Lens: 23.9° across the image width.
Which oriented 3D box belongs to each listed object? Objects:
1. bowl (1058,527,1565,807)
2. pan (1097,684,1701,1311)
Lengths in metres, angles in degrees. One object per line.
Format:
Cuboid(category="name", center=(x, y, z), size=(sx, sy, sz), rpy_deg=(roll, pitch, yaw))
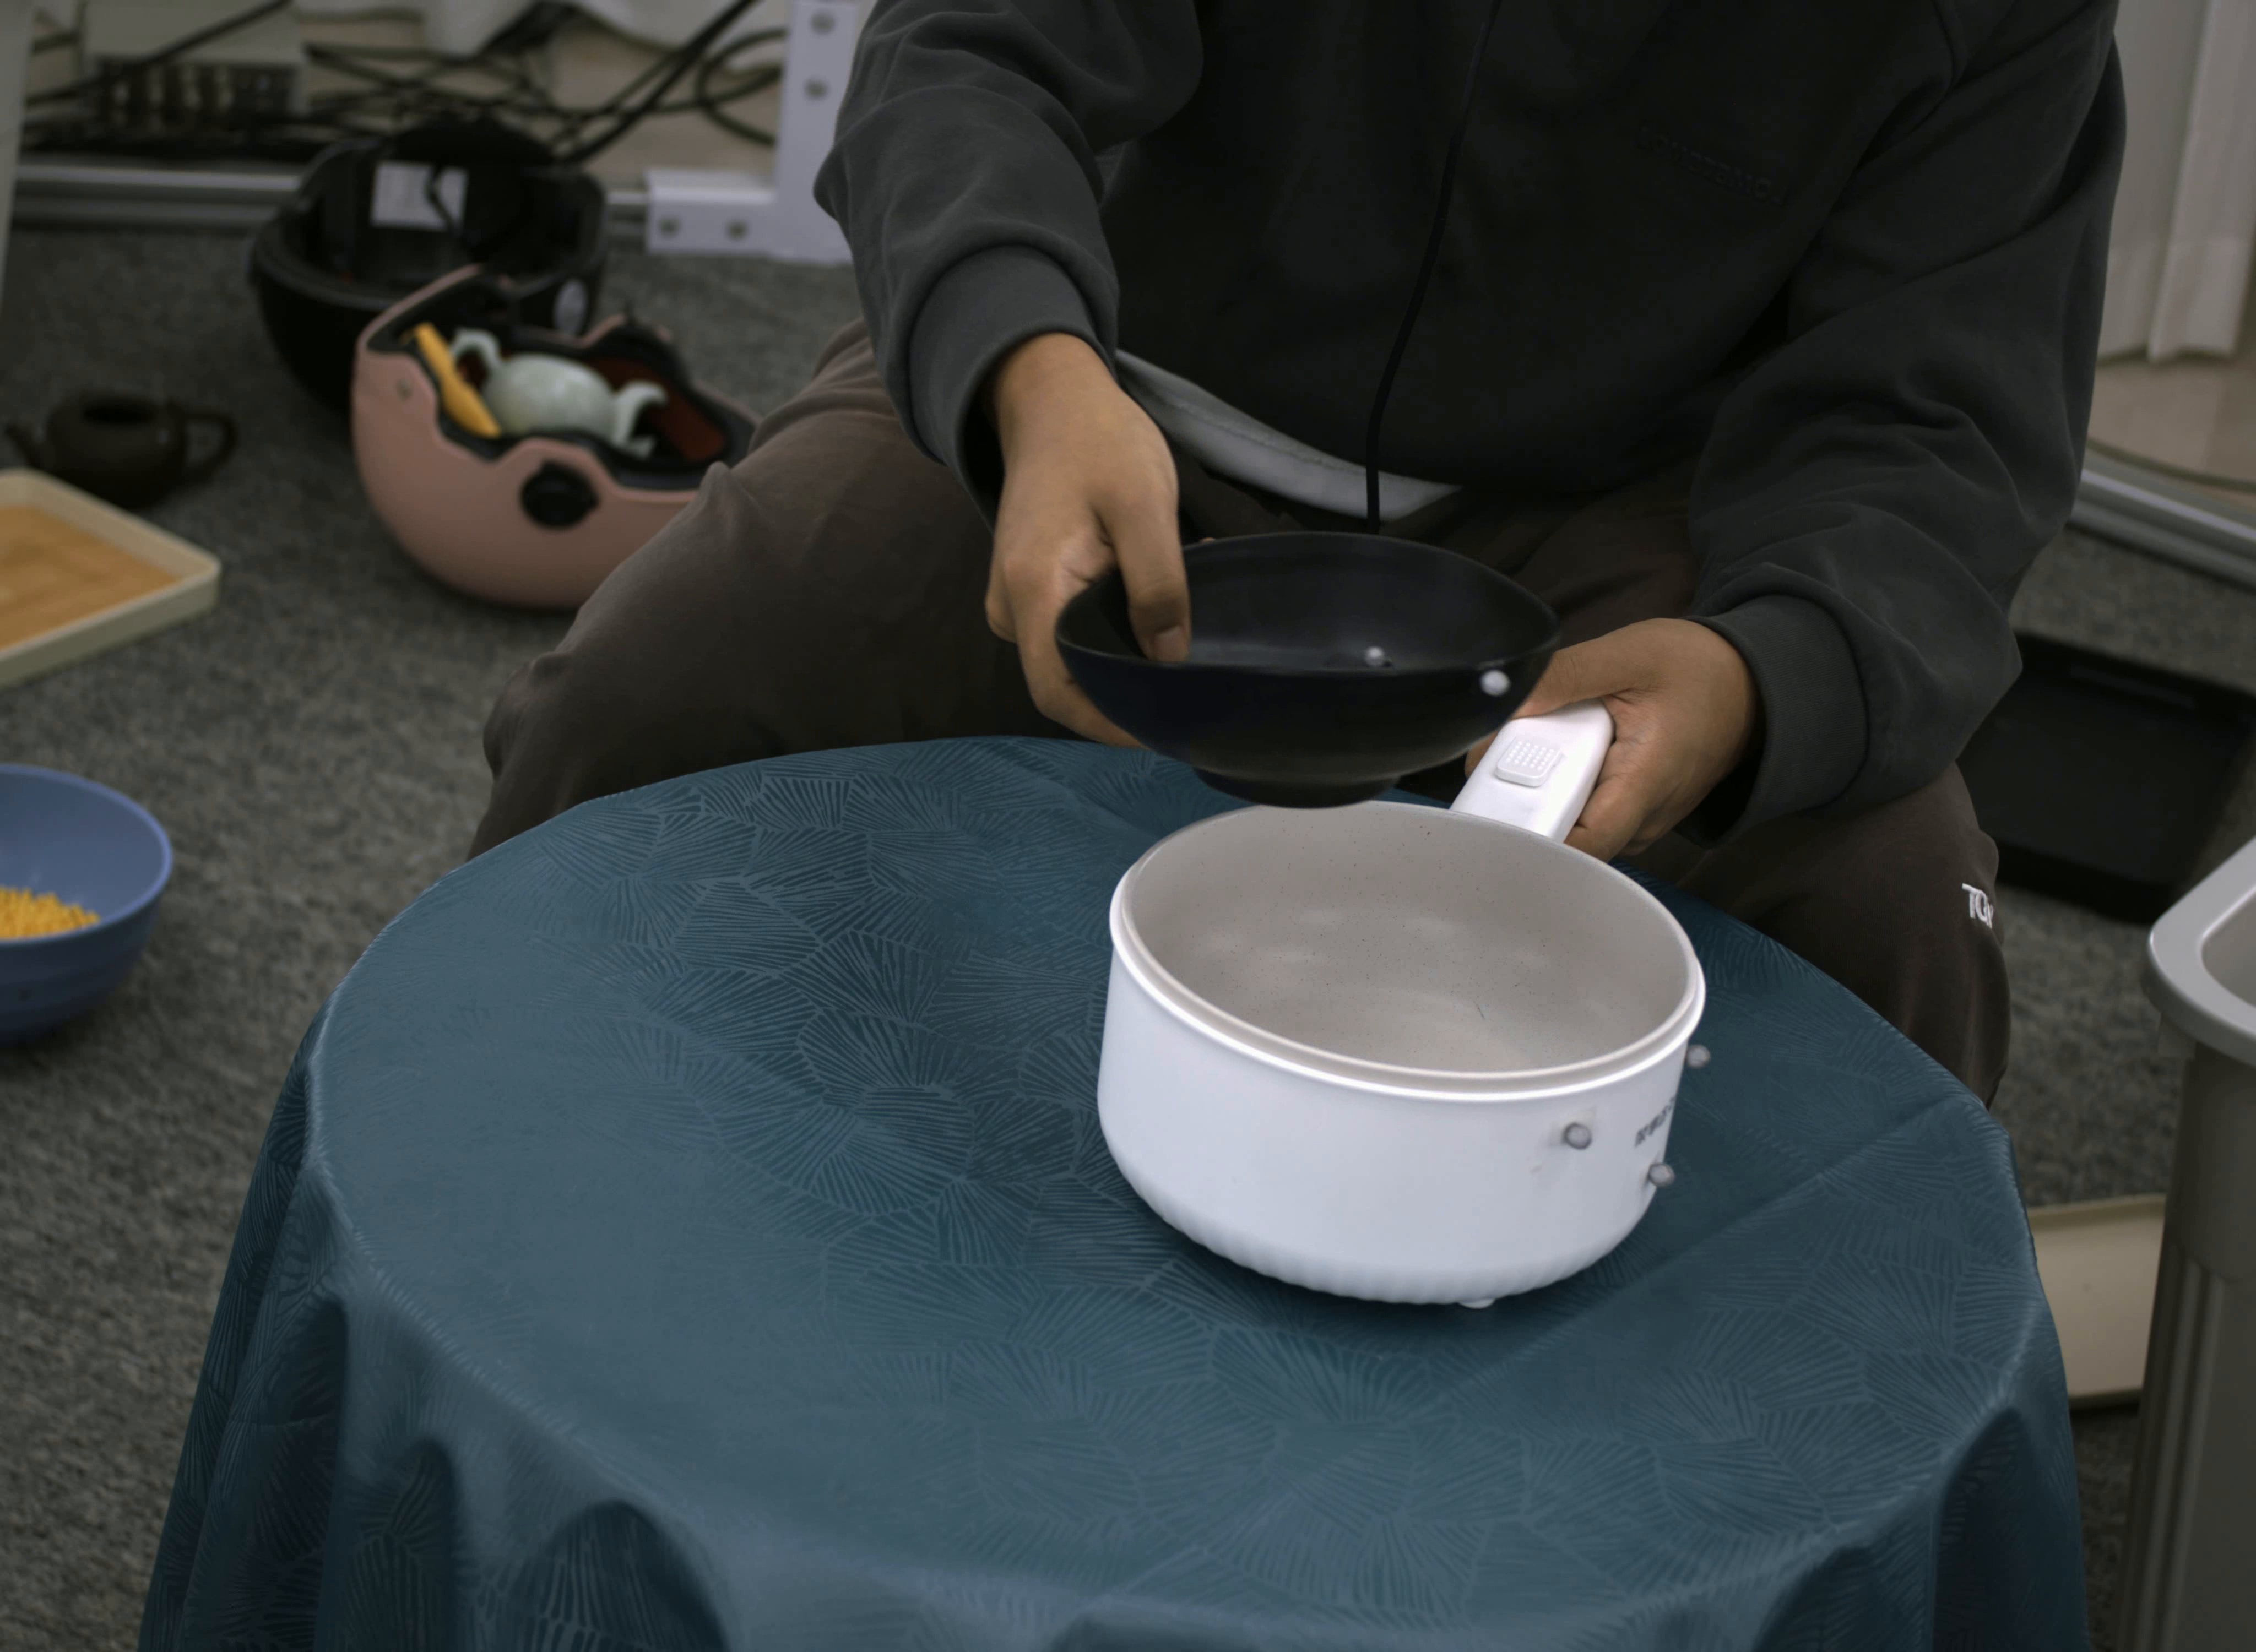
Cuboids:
Cuboid(category="bowl", center=(0.061, -0.048, 1.790), size=(0.170, 0.066, 0.138), rpy_deg=(0, 22, -2))
Cuboid(category="pan", center=(0.112, 0.055, 1.871), size=(0.201, 0.102, 0.355), rpy_deg=(12, 25, 15))
